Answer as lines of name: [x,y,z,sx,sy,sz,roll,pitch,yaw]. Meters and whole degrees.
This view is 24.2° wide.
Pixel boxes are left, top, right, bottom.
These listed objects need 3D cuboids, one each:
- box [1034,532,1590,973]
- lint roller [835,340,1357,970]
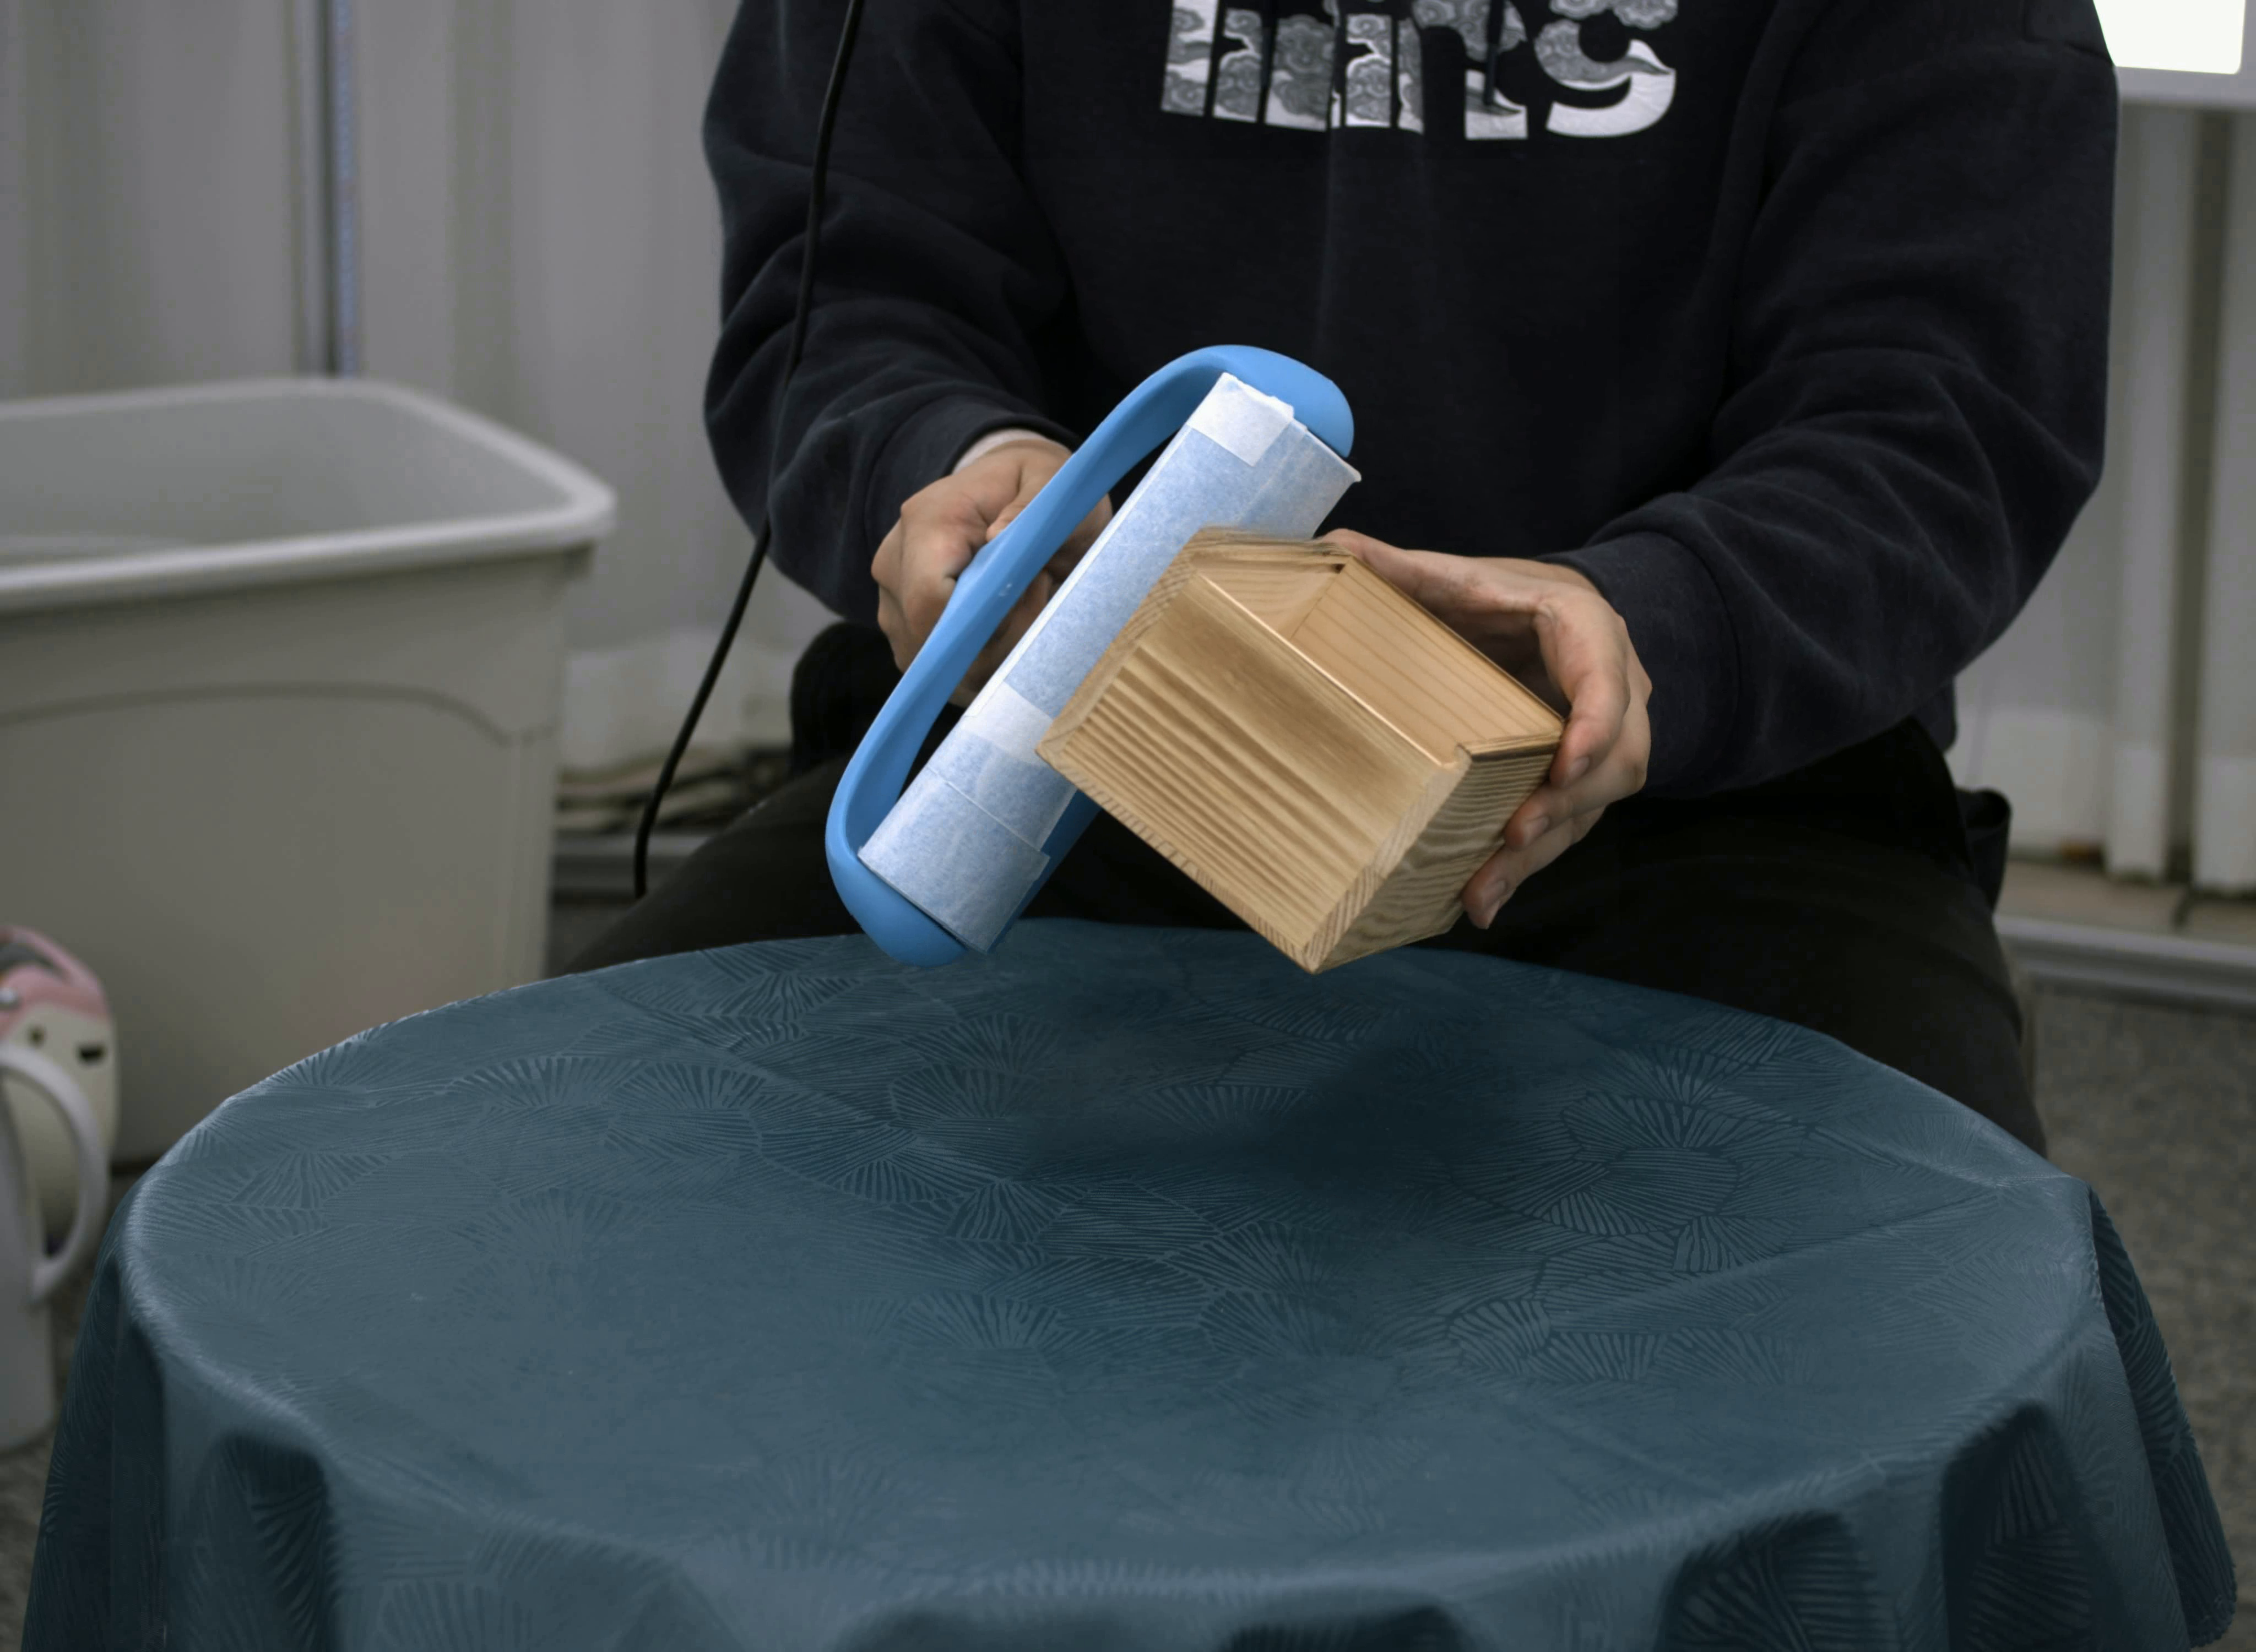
box: [0.061,-0.025,1.608,0.107,0.080,0.212,39,10,9]
lint roller: [-0.026,-0.066,1.718,0.068,0.229,0.178,34,0,-25]
